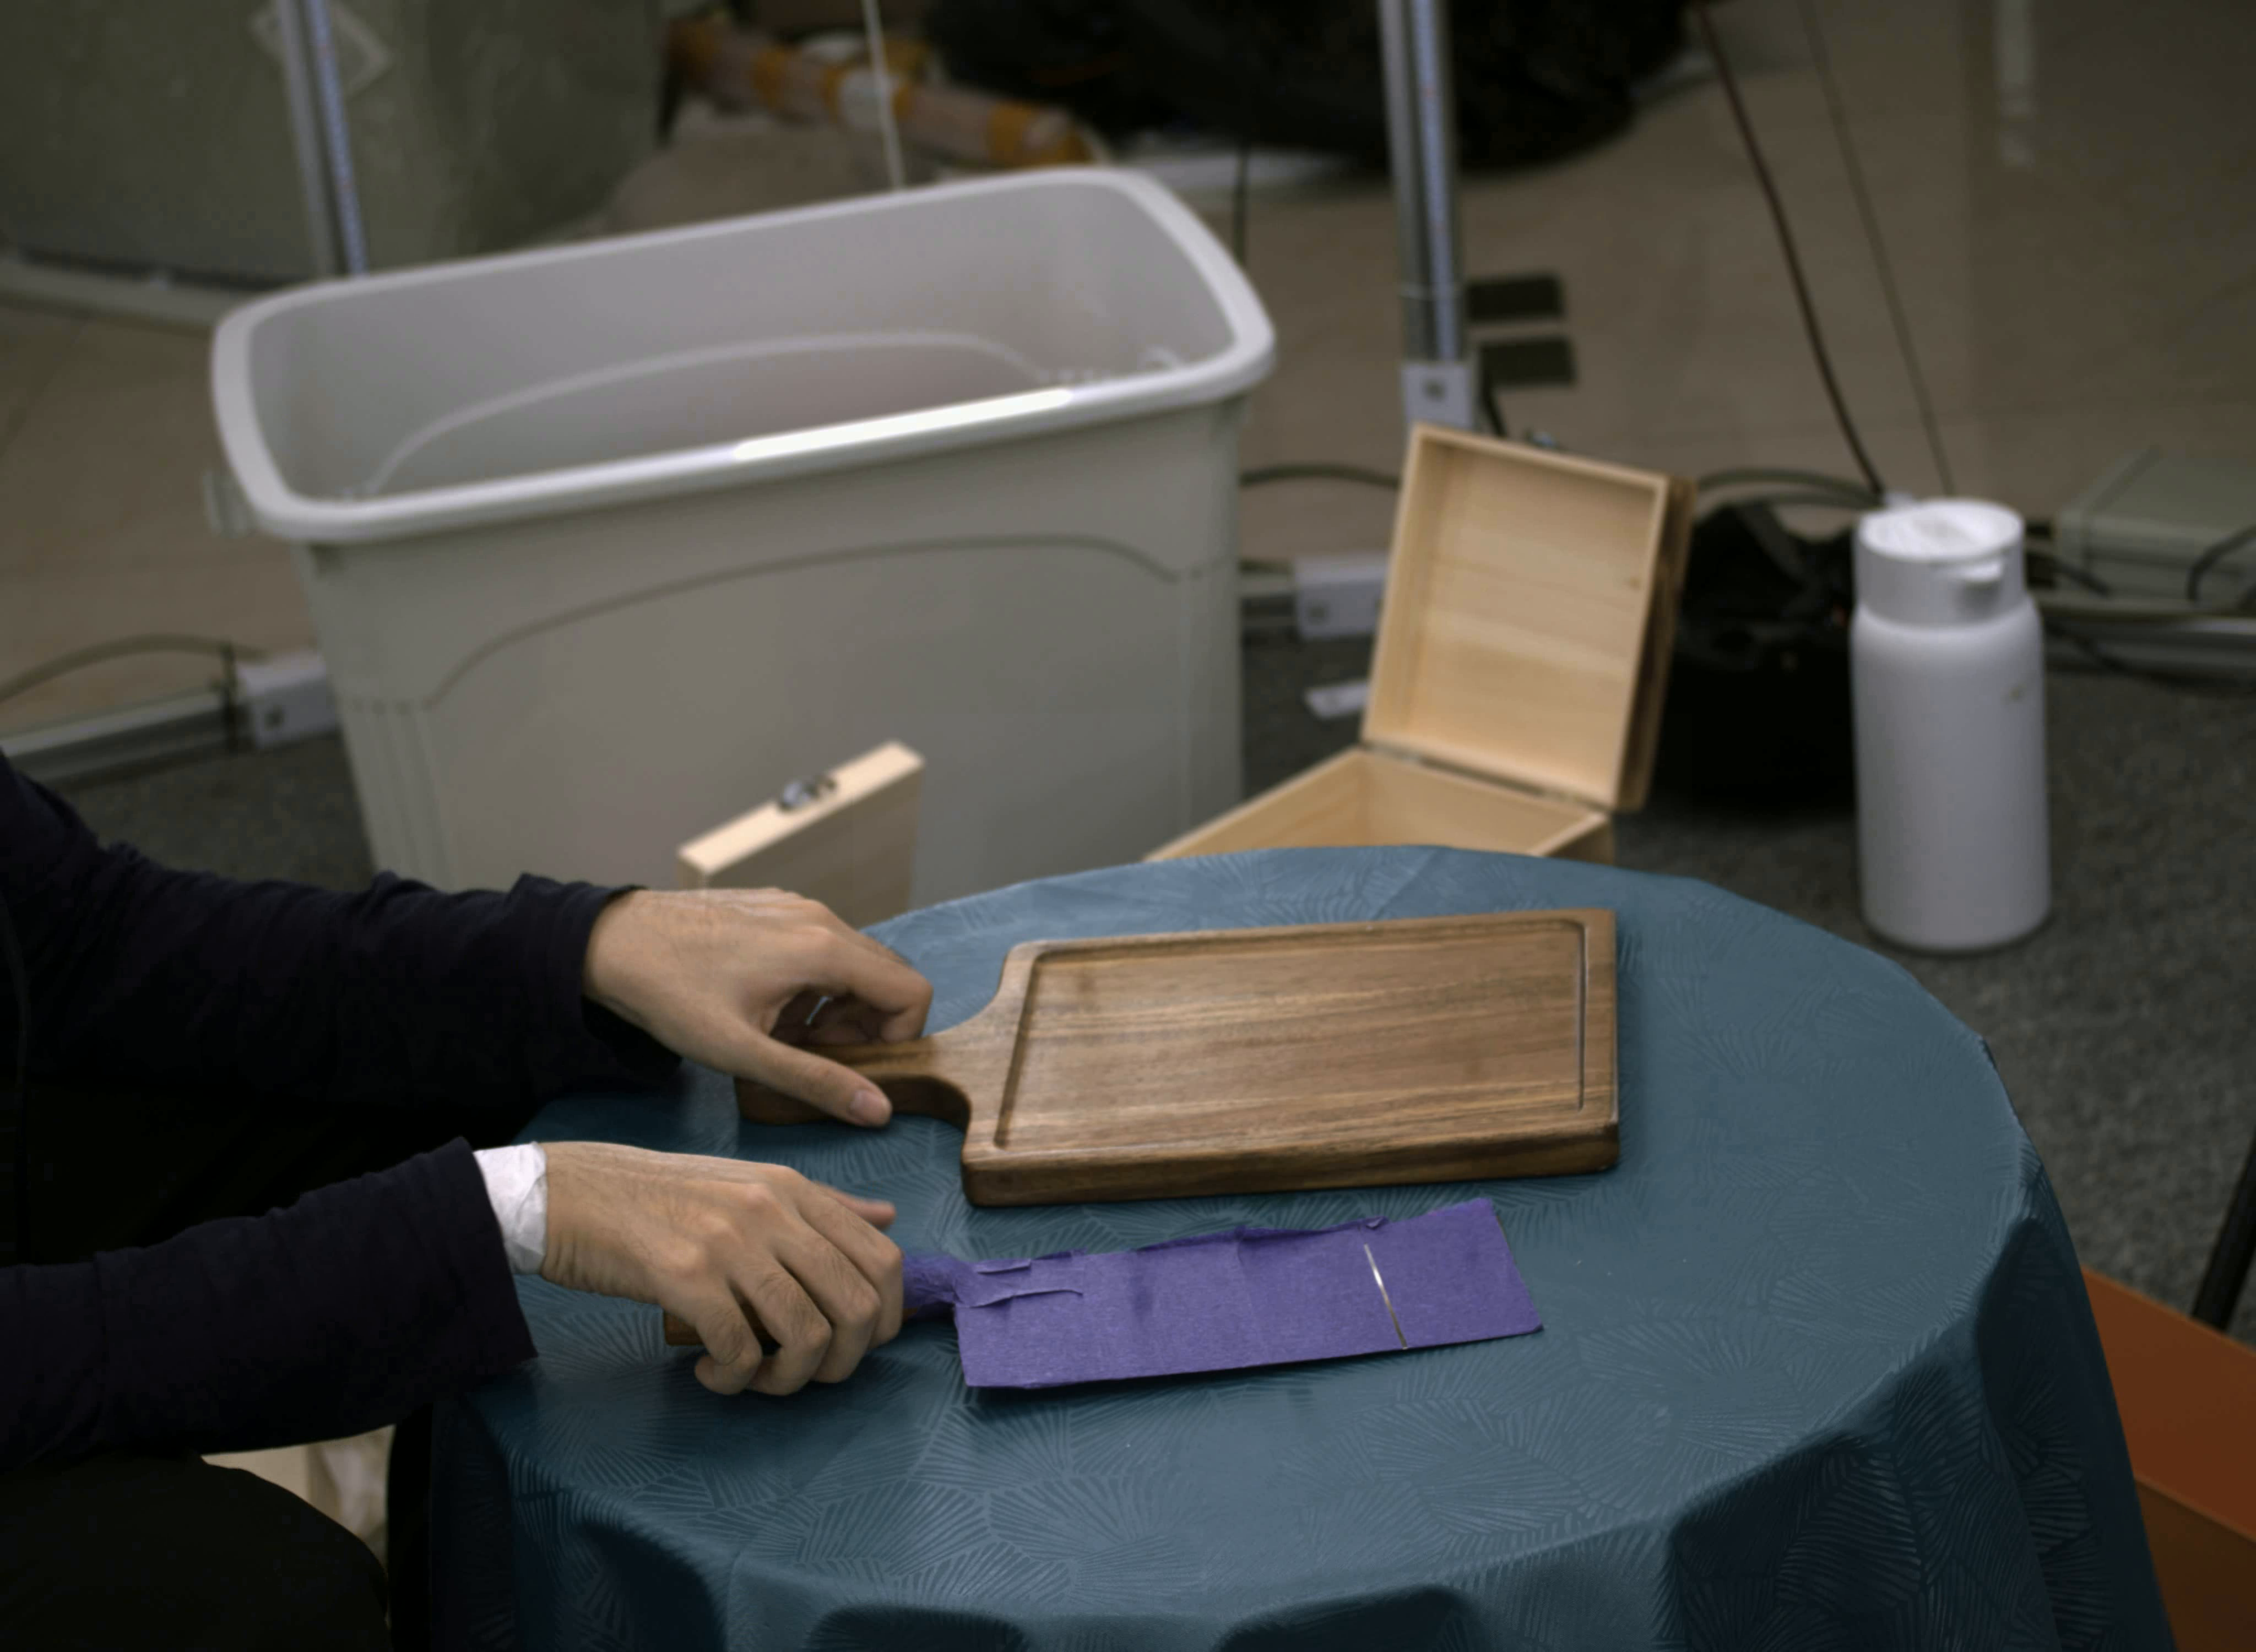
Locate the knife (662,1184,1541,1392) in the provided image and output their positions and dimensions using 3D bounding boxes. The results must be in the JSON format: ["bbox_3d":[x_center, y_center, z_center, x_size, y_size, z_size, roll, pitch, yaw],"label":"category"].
[{"bbox_3d":[-0.011,0.172,2.052,0.314,0.033,0.102,-8,25,-4],"label":"knife"}]

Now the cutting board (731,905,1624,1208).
[{"bbox_3d":[0.018,0.091,2.225,0.351,0.023,0.198,-4,25,7],"label":"cutting board"}]
